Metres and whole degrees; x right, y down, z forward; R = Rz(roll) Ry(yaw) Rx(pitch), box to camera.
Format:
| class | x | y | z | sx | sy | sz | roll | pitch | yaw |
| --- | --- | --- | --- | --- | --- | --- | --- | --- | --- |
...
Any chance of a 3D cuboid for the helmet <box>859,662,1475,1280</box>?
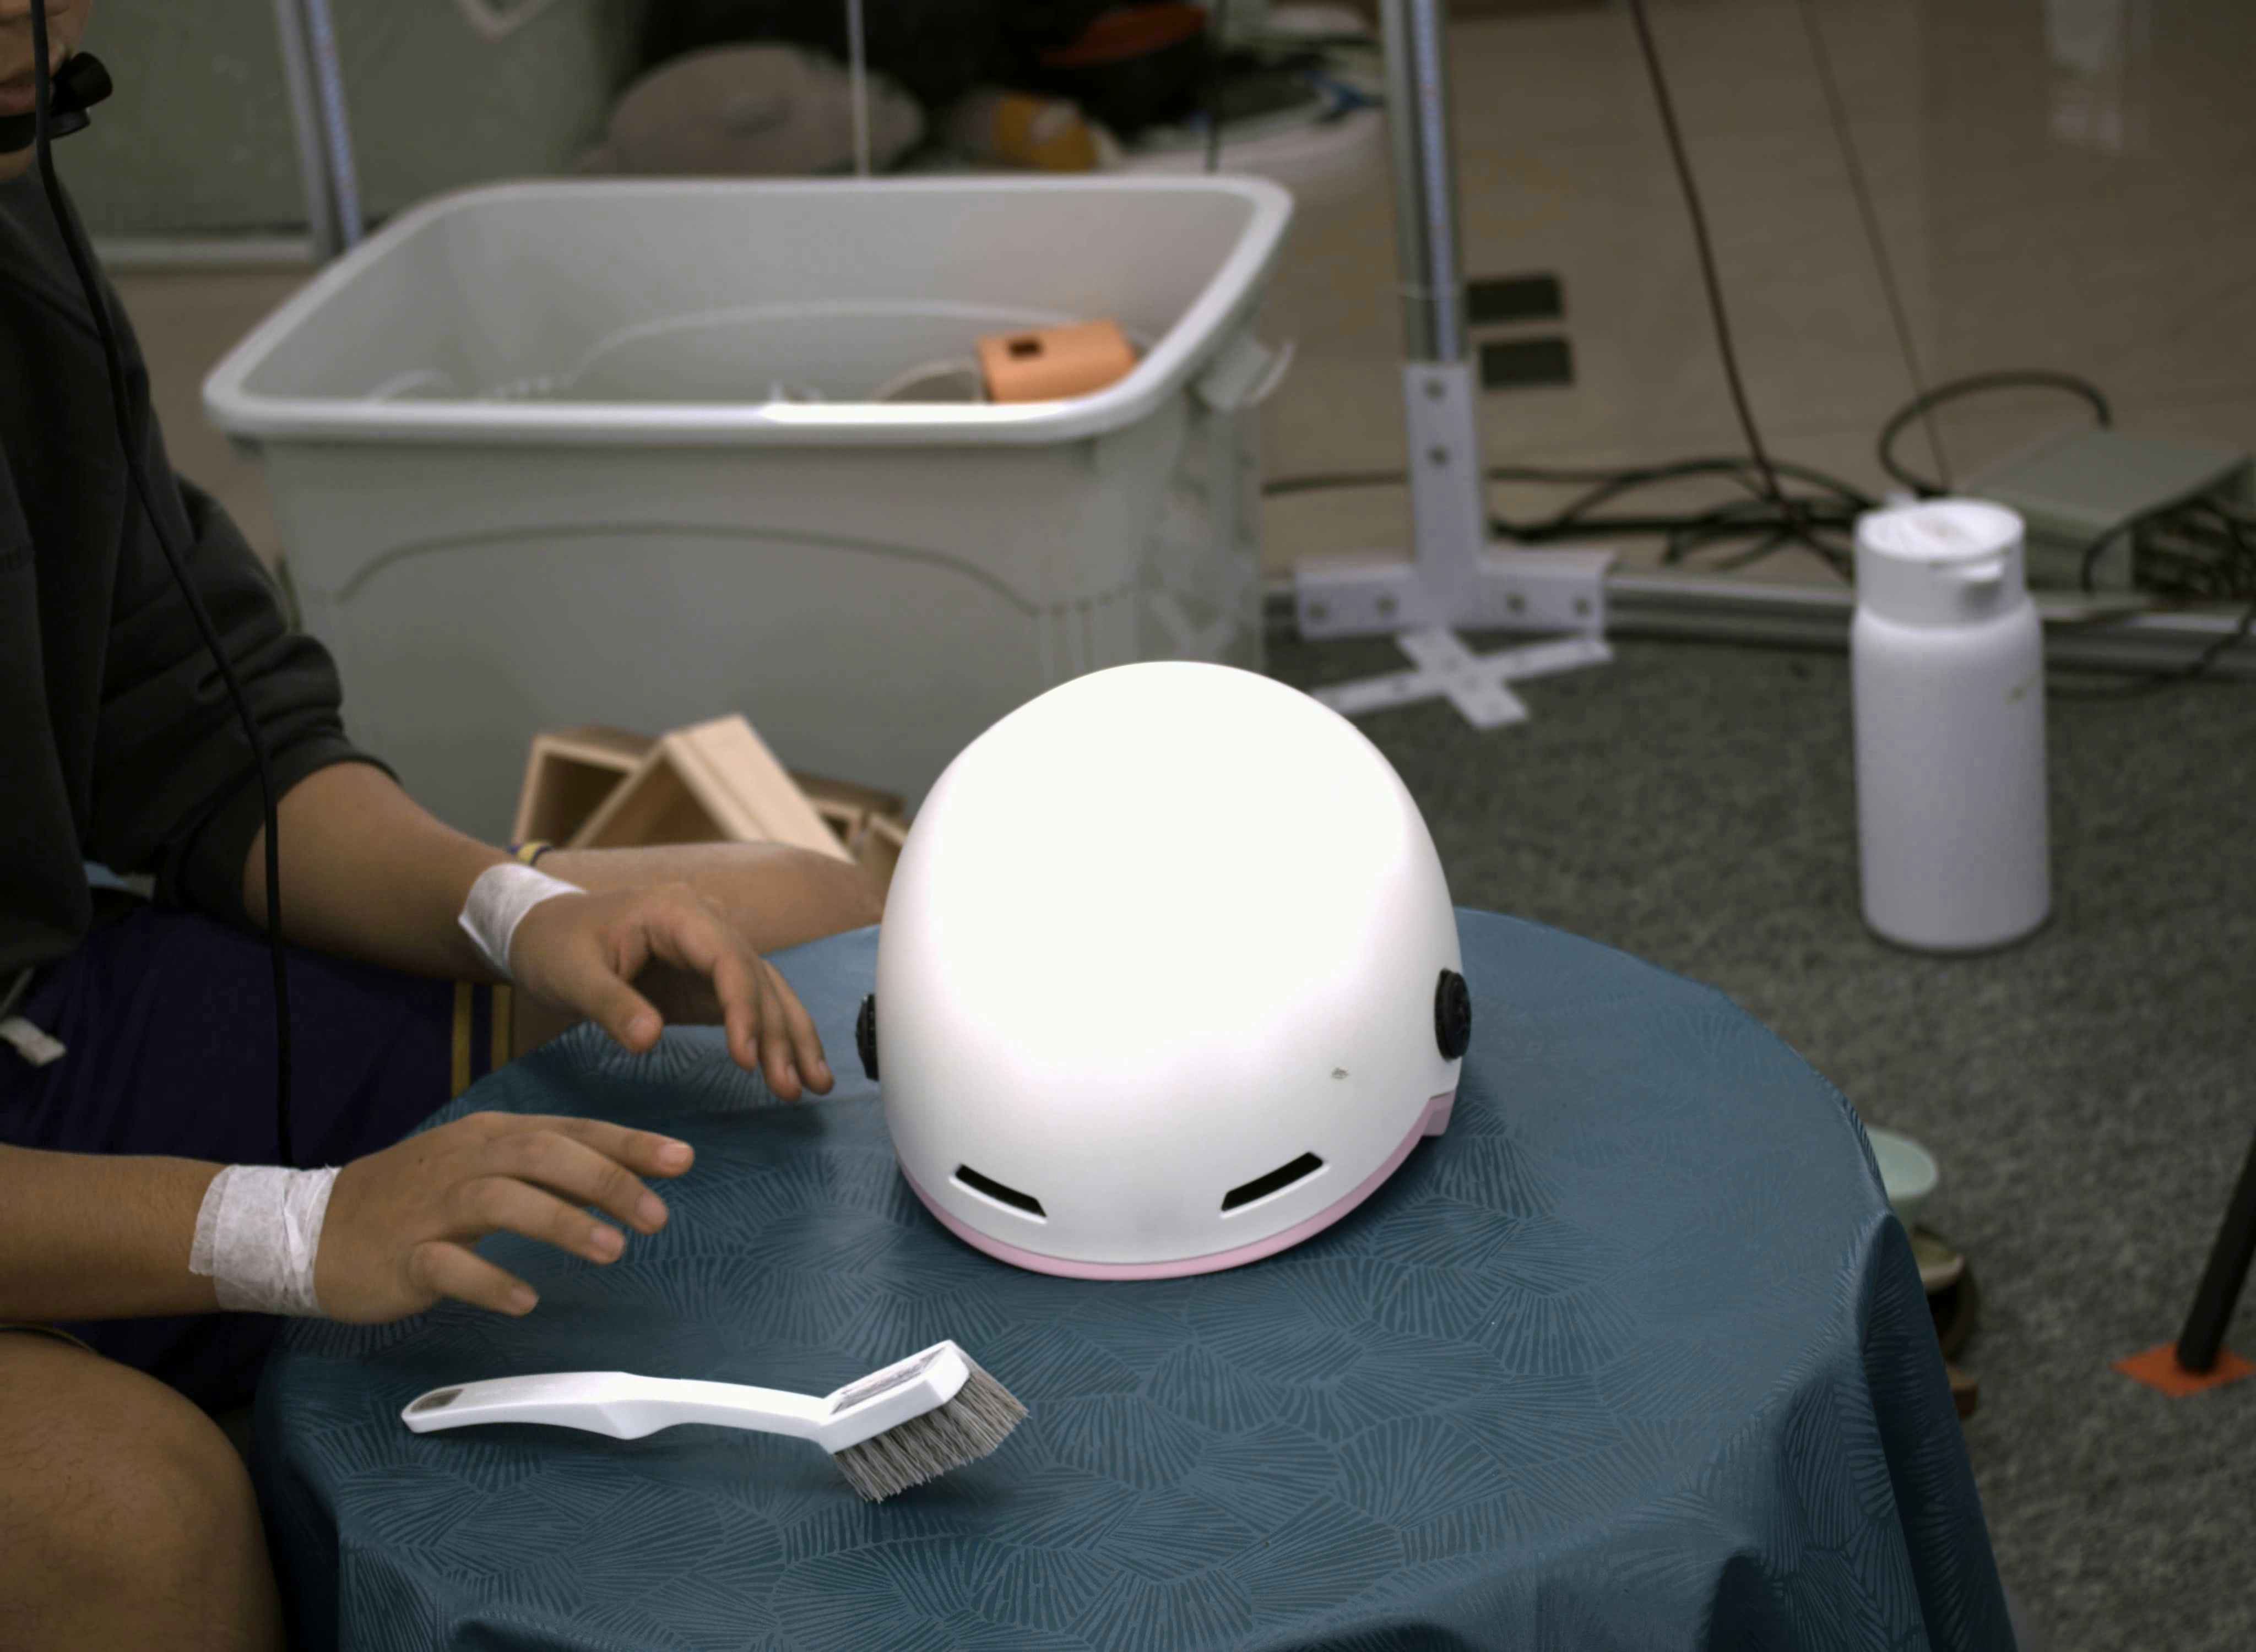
| class | x | y | z | sx | sy | sz | roll | pitch | yaw |
| --- | --- | --- | --- | --- | --- | --- | --- | --- | --- |
| helmet | 0.014 | 0.037 | 2.165 | 0.236 | 0.170 | 0.265 | -1 | 26 | 10 |

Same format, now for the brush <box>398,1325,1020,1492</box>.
| class | x | y | z | sx | sy | sz | roll | pitch | yaw |
| --- | --- | --- | --- | --- | --- | --- | --- | --- | --- |
| brush | -0.149 | 0.214 | 1.996 | 0.244 | 0.051 | 0.034 | -9 | 22 | 27 |
